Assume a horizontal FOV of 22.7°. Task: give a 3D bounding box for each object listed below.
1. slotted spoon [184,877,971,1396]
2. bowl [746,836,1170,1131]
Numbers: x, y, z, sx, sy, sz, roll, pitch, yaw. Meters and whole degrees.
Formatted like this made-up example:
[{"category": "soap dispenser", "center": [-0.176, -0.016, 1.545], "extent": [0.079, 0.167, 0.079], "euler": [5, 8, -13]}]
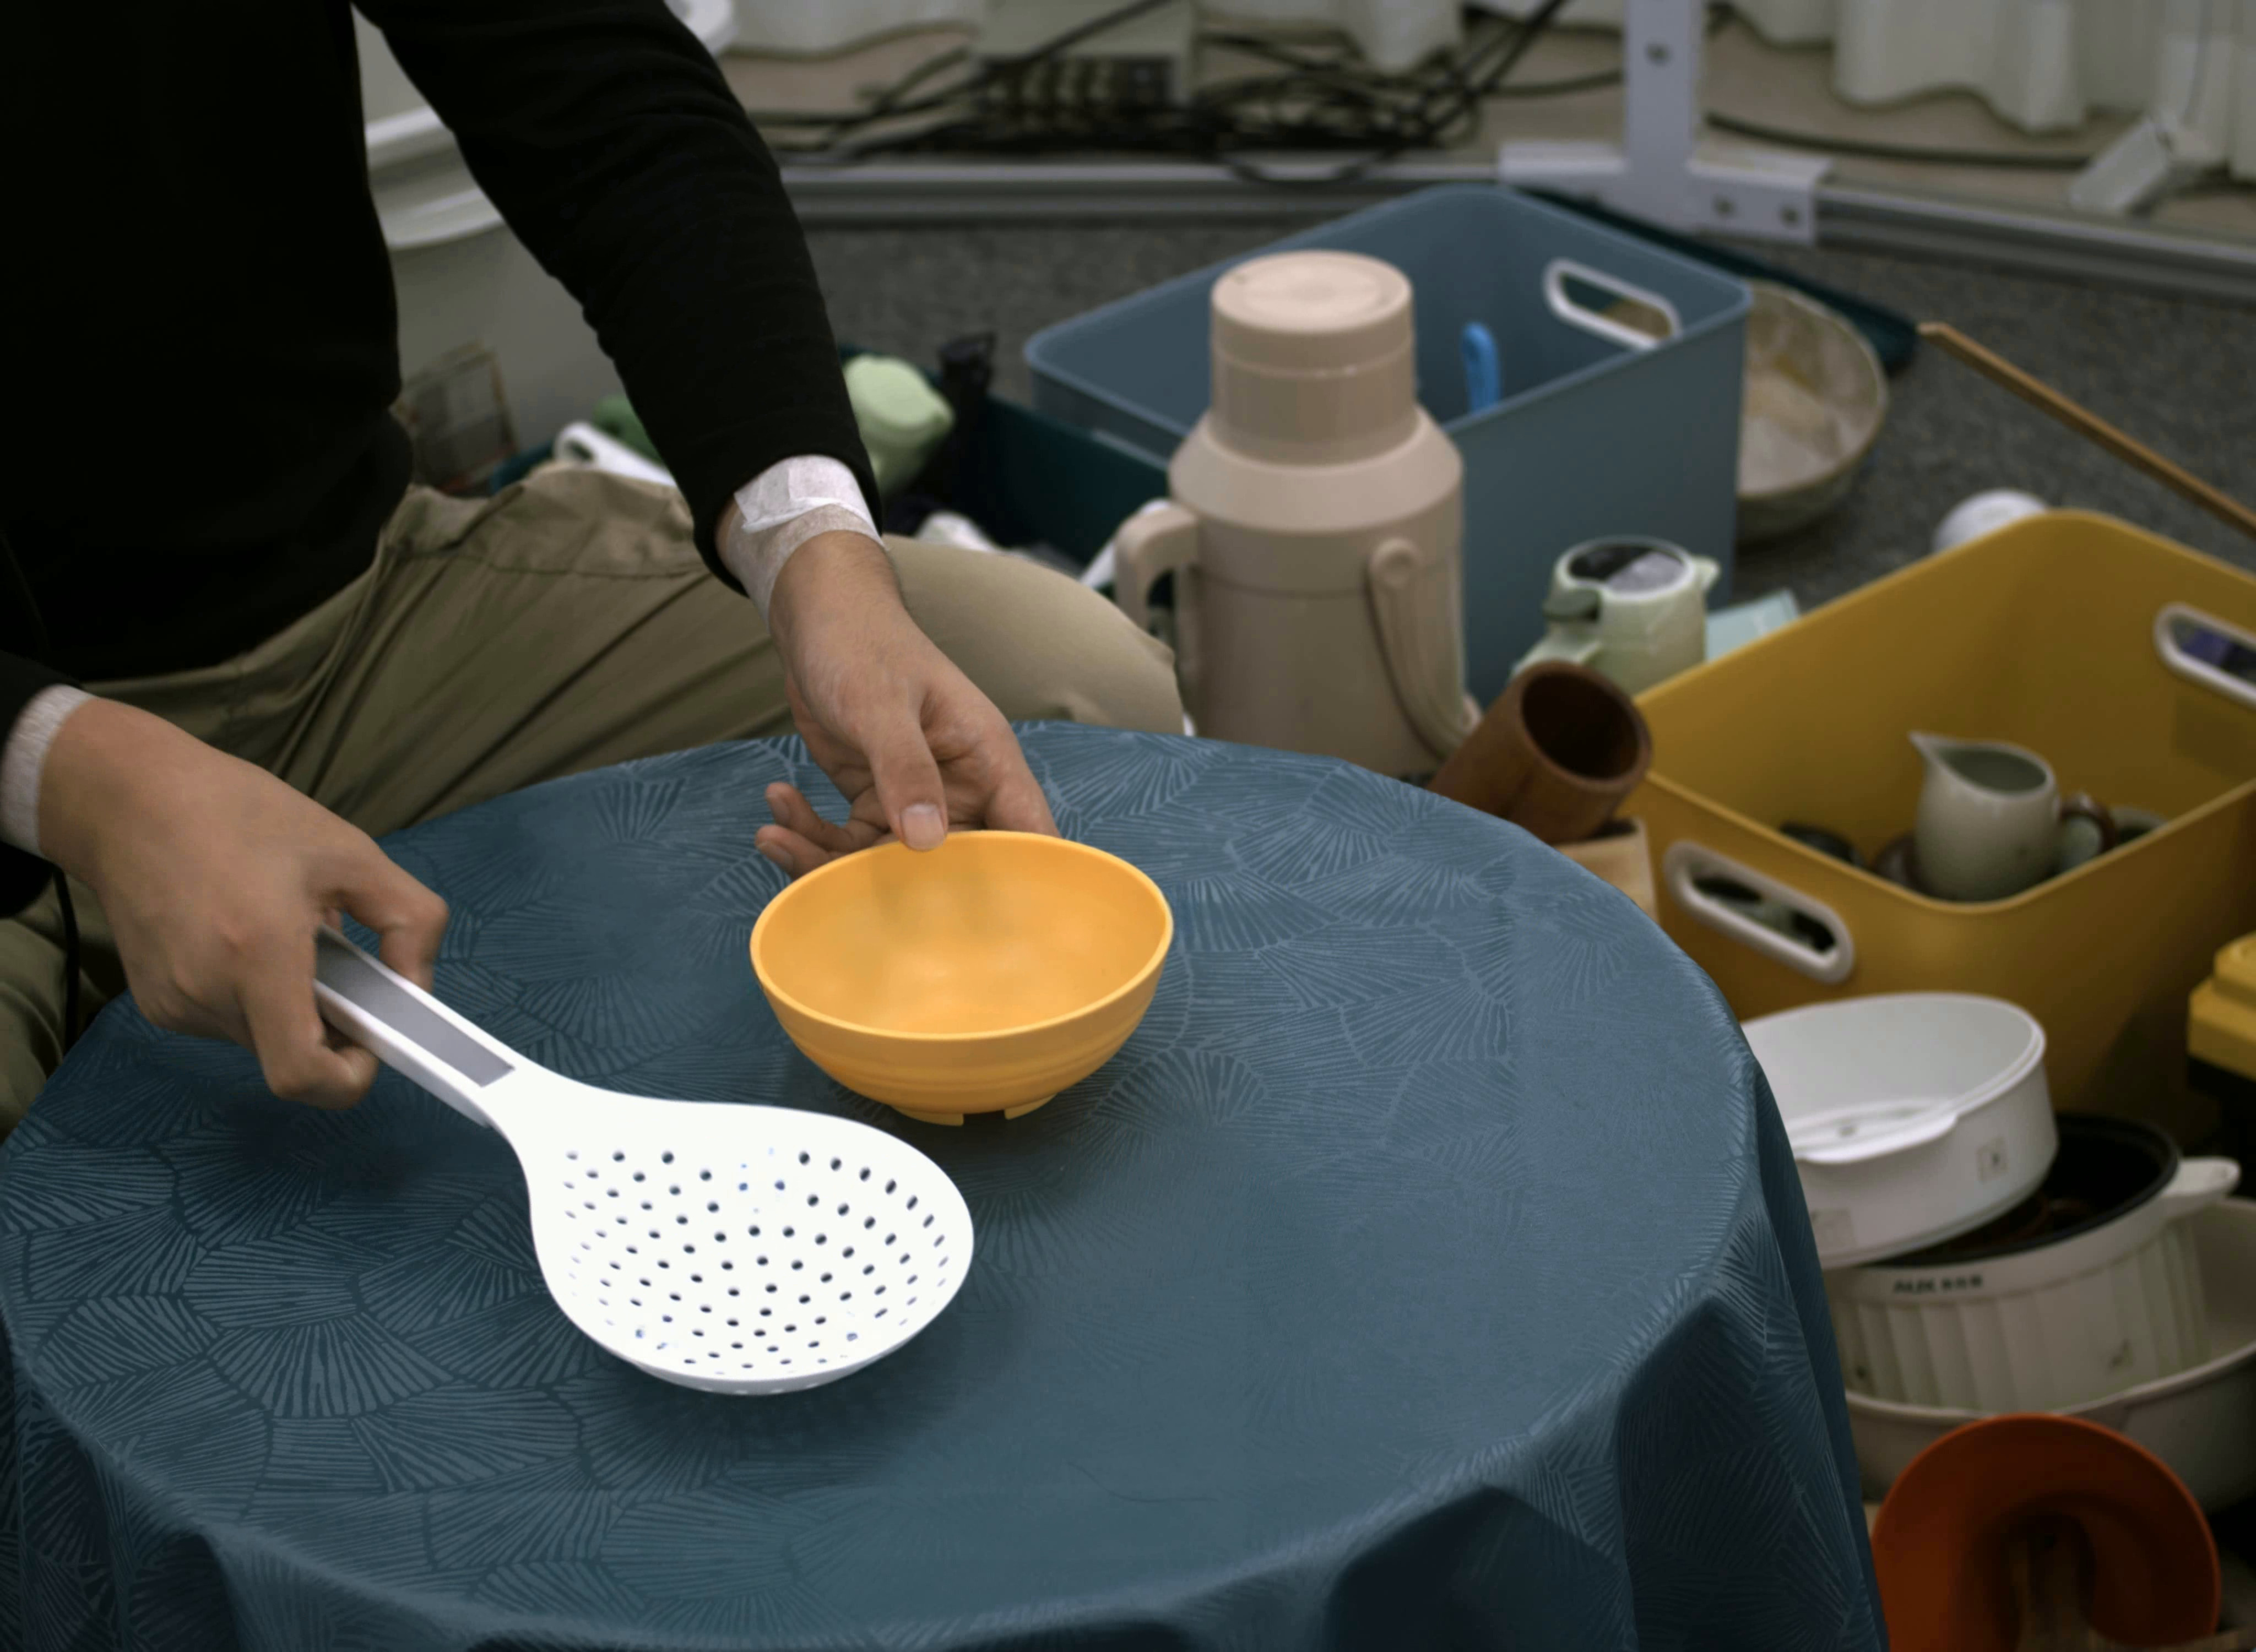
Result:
[{"category": "slotted spoon", "center": [-0.194, 0.095, 1.835], "extent": [0.350, 0.045, 0.138], "euler": [32, 45, 33]}, {"category": "bowl", "center": [-0.057, 0.063, 1.921], "extent": [0.144, 0.059, 0.147], "euler": [-1, 27, 1]}]
